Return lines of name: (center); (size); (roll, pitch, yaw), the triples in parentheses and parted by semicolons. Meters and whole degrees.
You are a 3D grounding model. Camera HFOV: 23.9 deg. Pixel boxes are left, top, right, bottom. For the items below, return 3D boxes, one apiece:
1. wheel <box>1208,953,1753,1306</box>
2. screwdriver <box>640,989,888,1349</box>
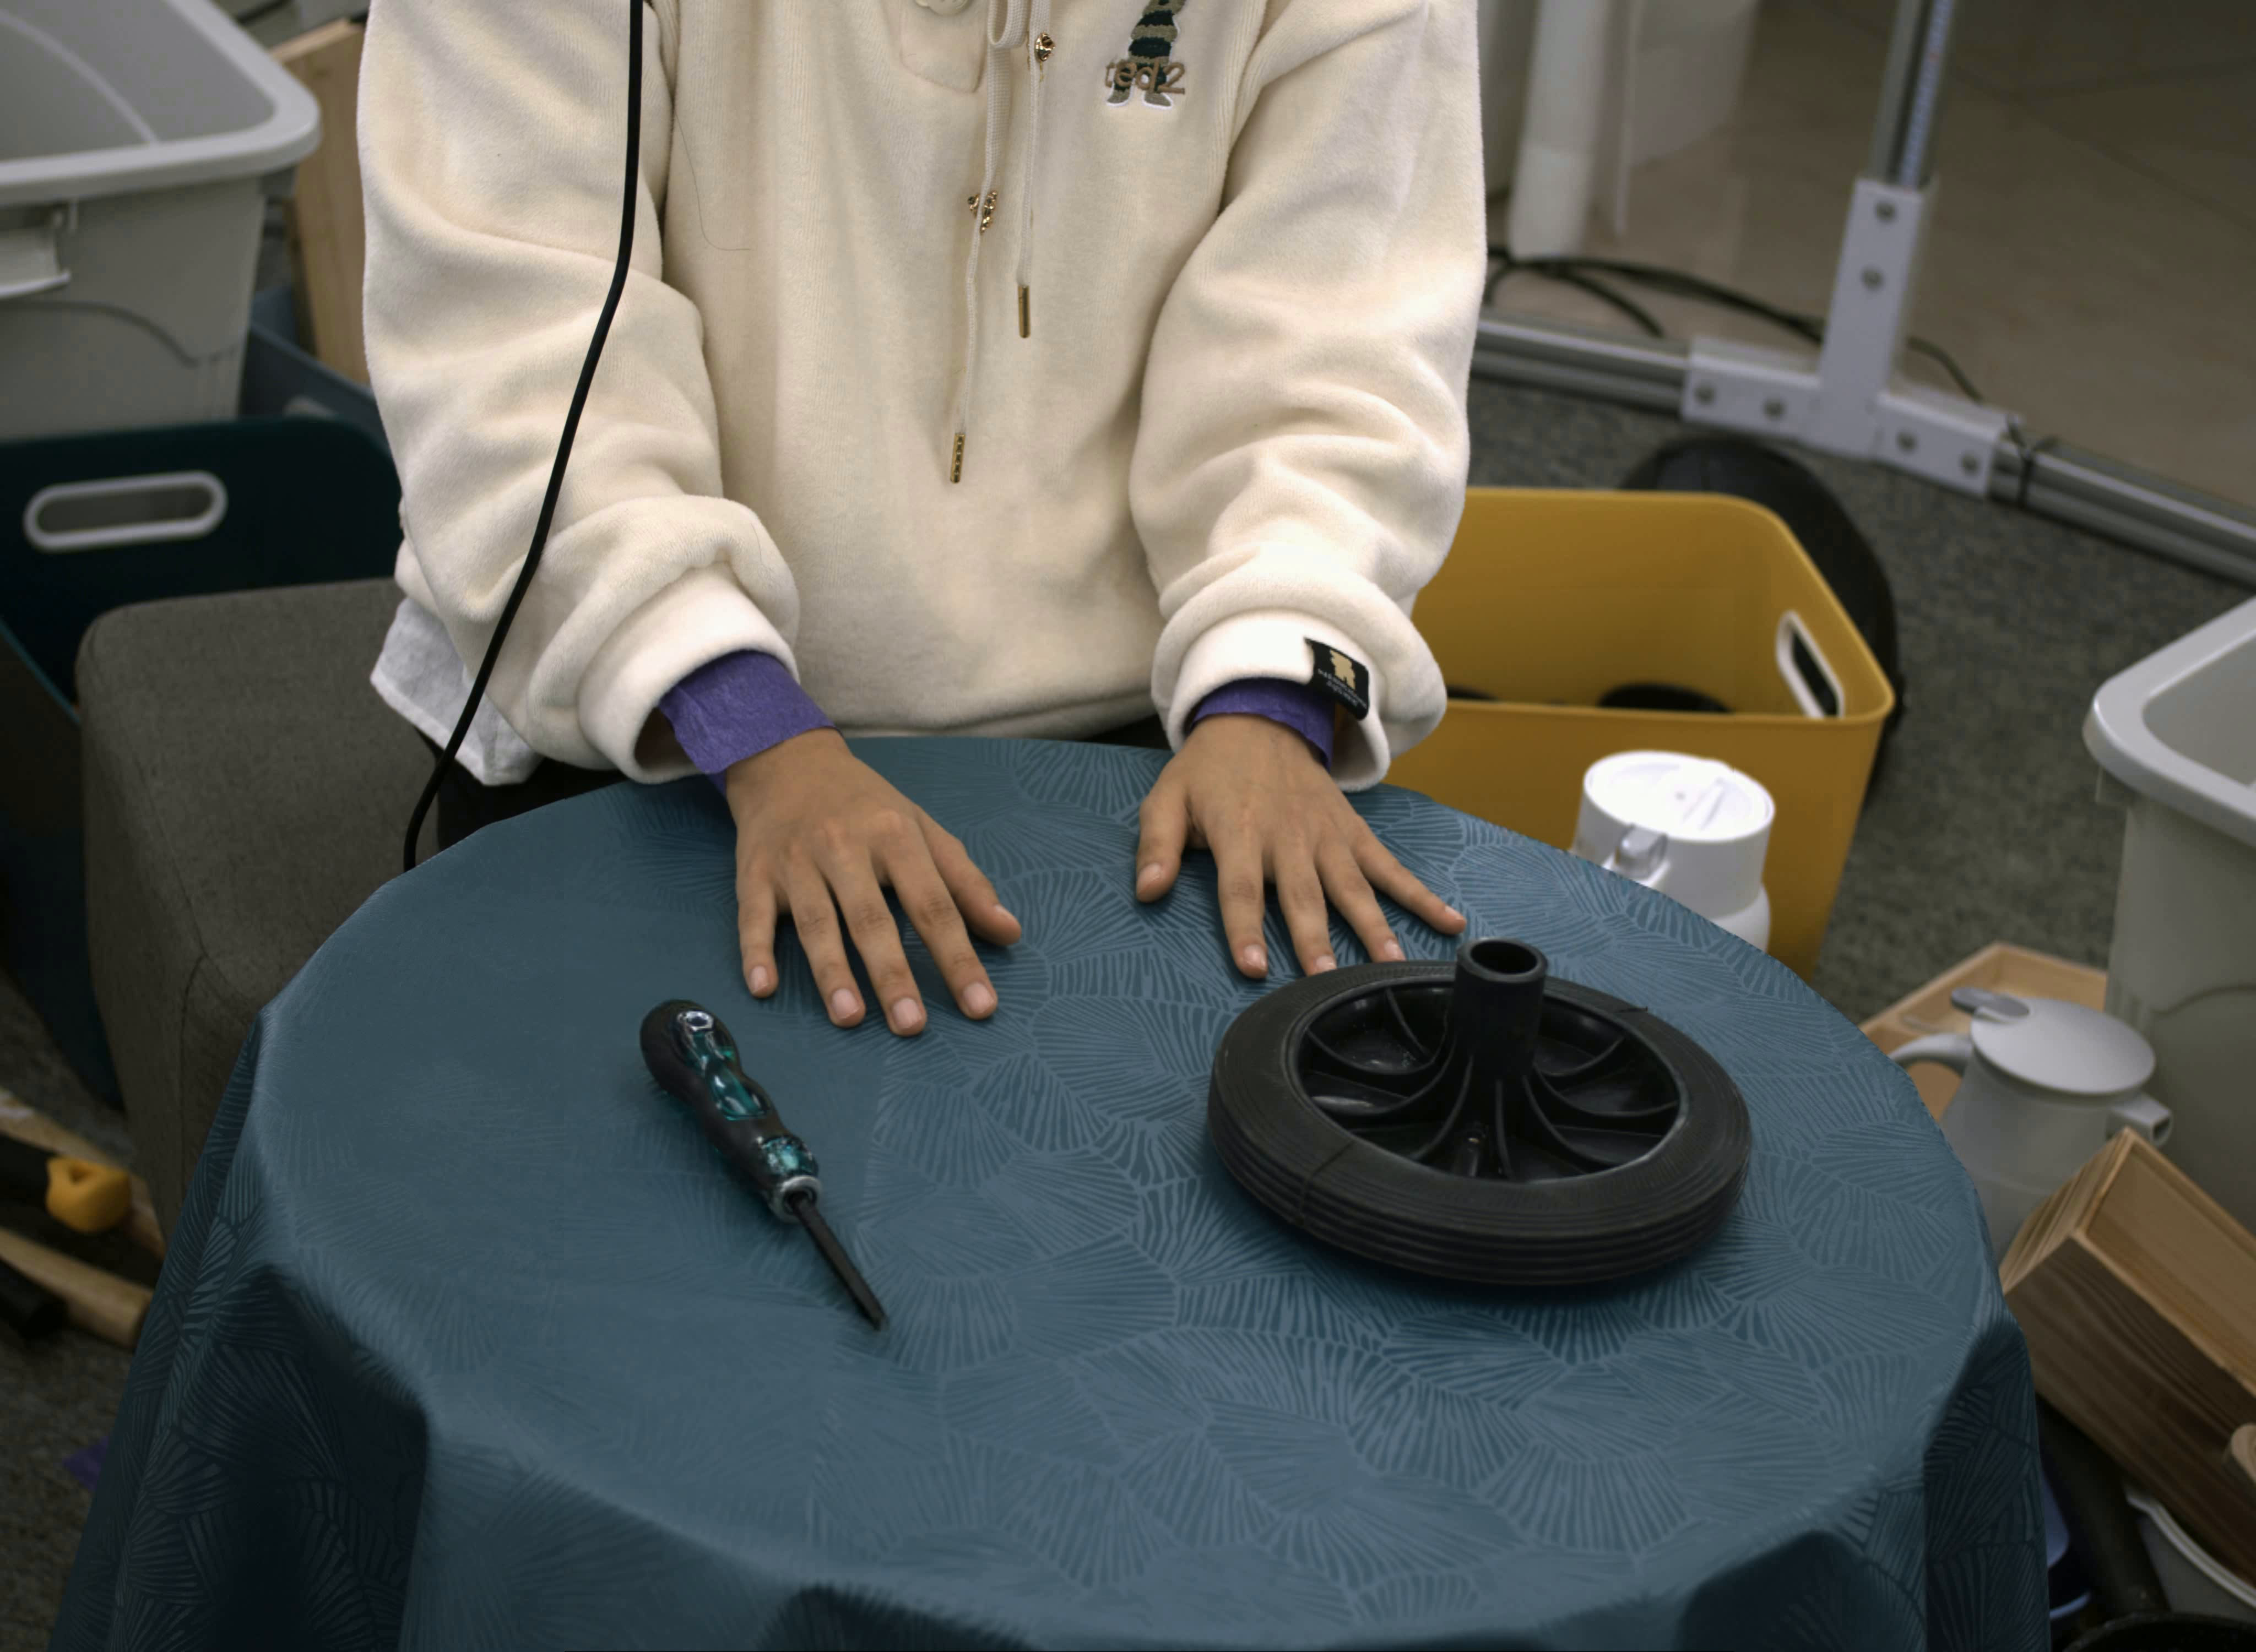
wheel: (0.124, 0.085, 1.822); (0.186, 0.079, 0.191); (0, 30, -13)
screwdriver: (-0.119, 0.116, 1.768); (0.033, 0.033, 0.192); (-7, 35, -26)
